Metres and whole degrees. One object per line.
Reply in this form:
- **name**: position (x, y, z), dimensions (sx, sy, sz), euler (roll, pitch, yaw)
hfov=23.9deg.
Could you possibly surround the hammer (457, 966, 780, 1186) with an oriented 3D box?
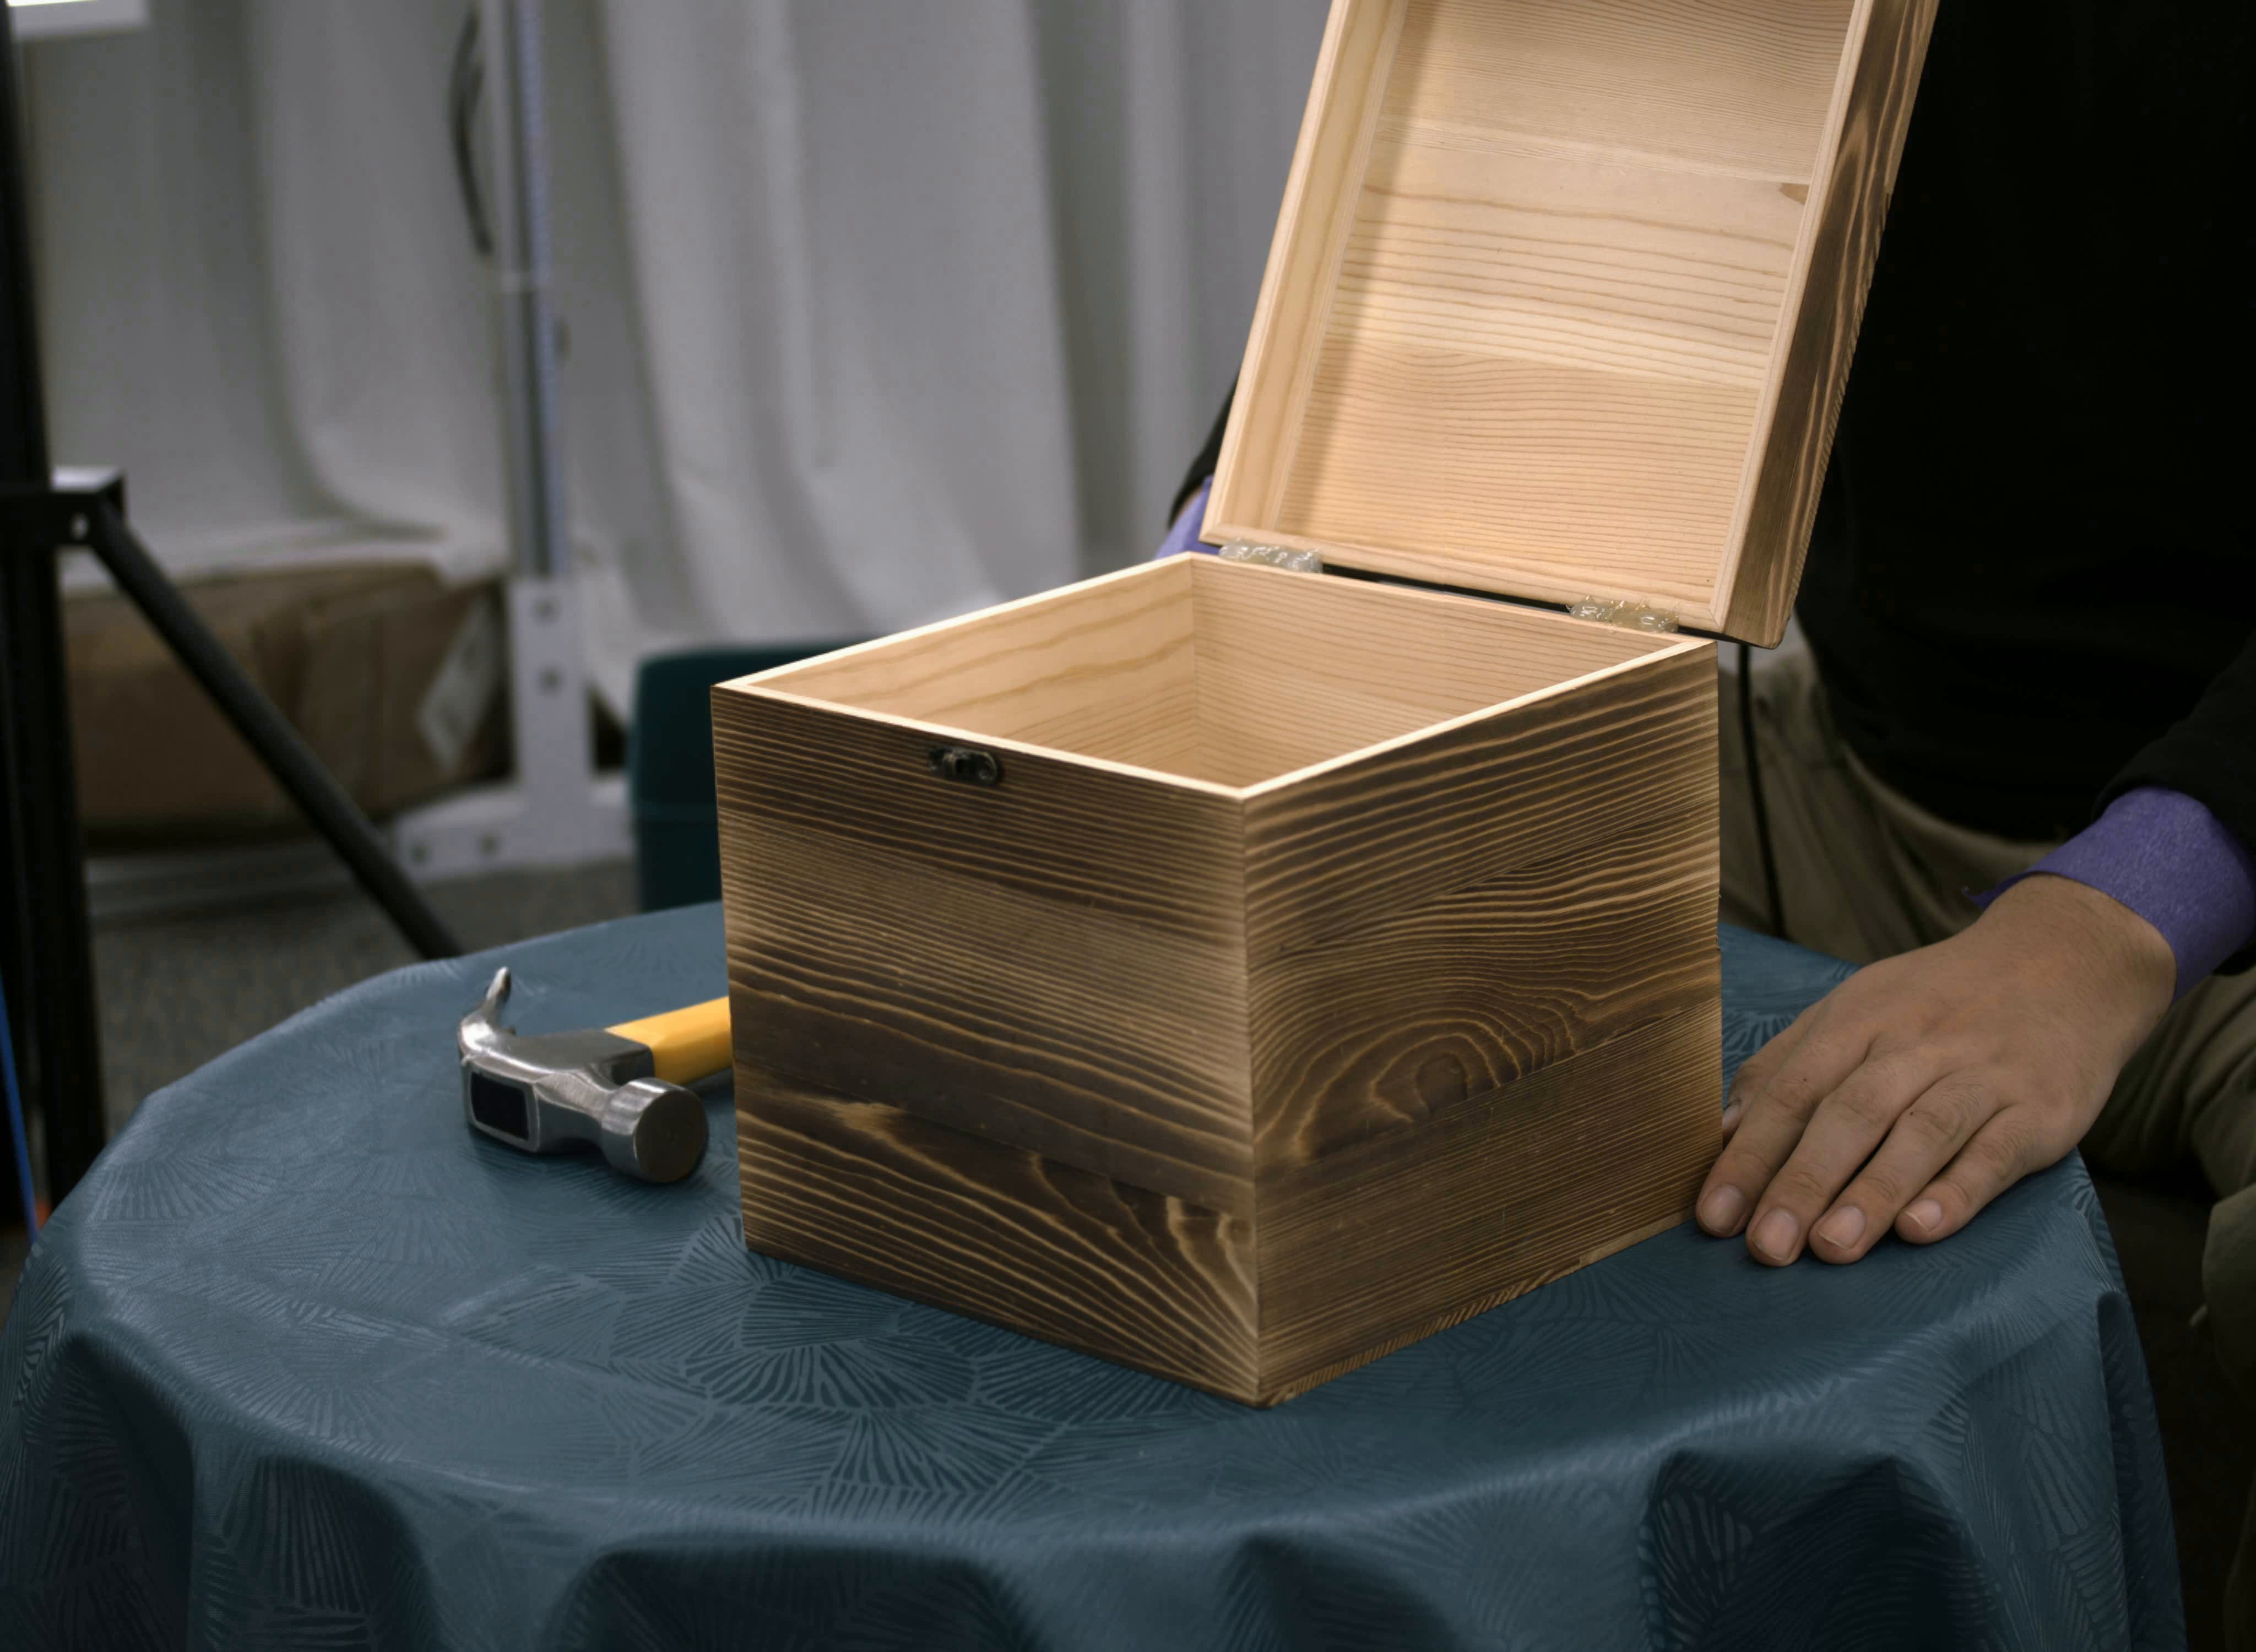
- **hammer**: position (-0.072, 0.045, 1.722), dimensions (0.331, 0.032, 0.134), euler (-18, 22, -40)

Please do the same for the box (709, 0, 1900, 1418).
- **box**: position (0.059, -0.067, 1.511), dimensions (0.213, 0.375, 0.315), euler (11, 19, 43)
